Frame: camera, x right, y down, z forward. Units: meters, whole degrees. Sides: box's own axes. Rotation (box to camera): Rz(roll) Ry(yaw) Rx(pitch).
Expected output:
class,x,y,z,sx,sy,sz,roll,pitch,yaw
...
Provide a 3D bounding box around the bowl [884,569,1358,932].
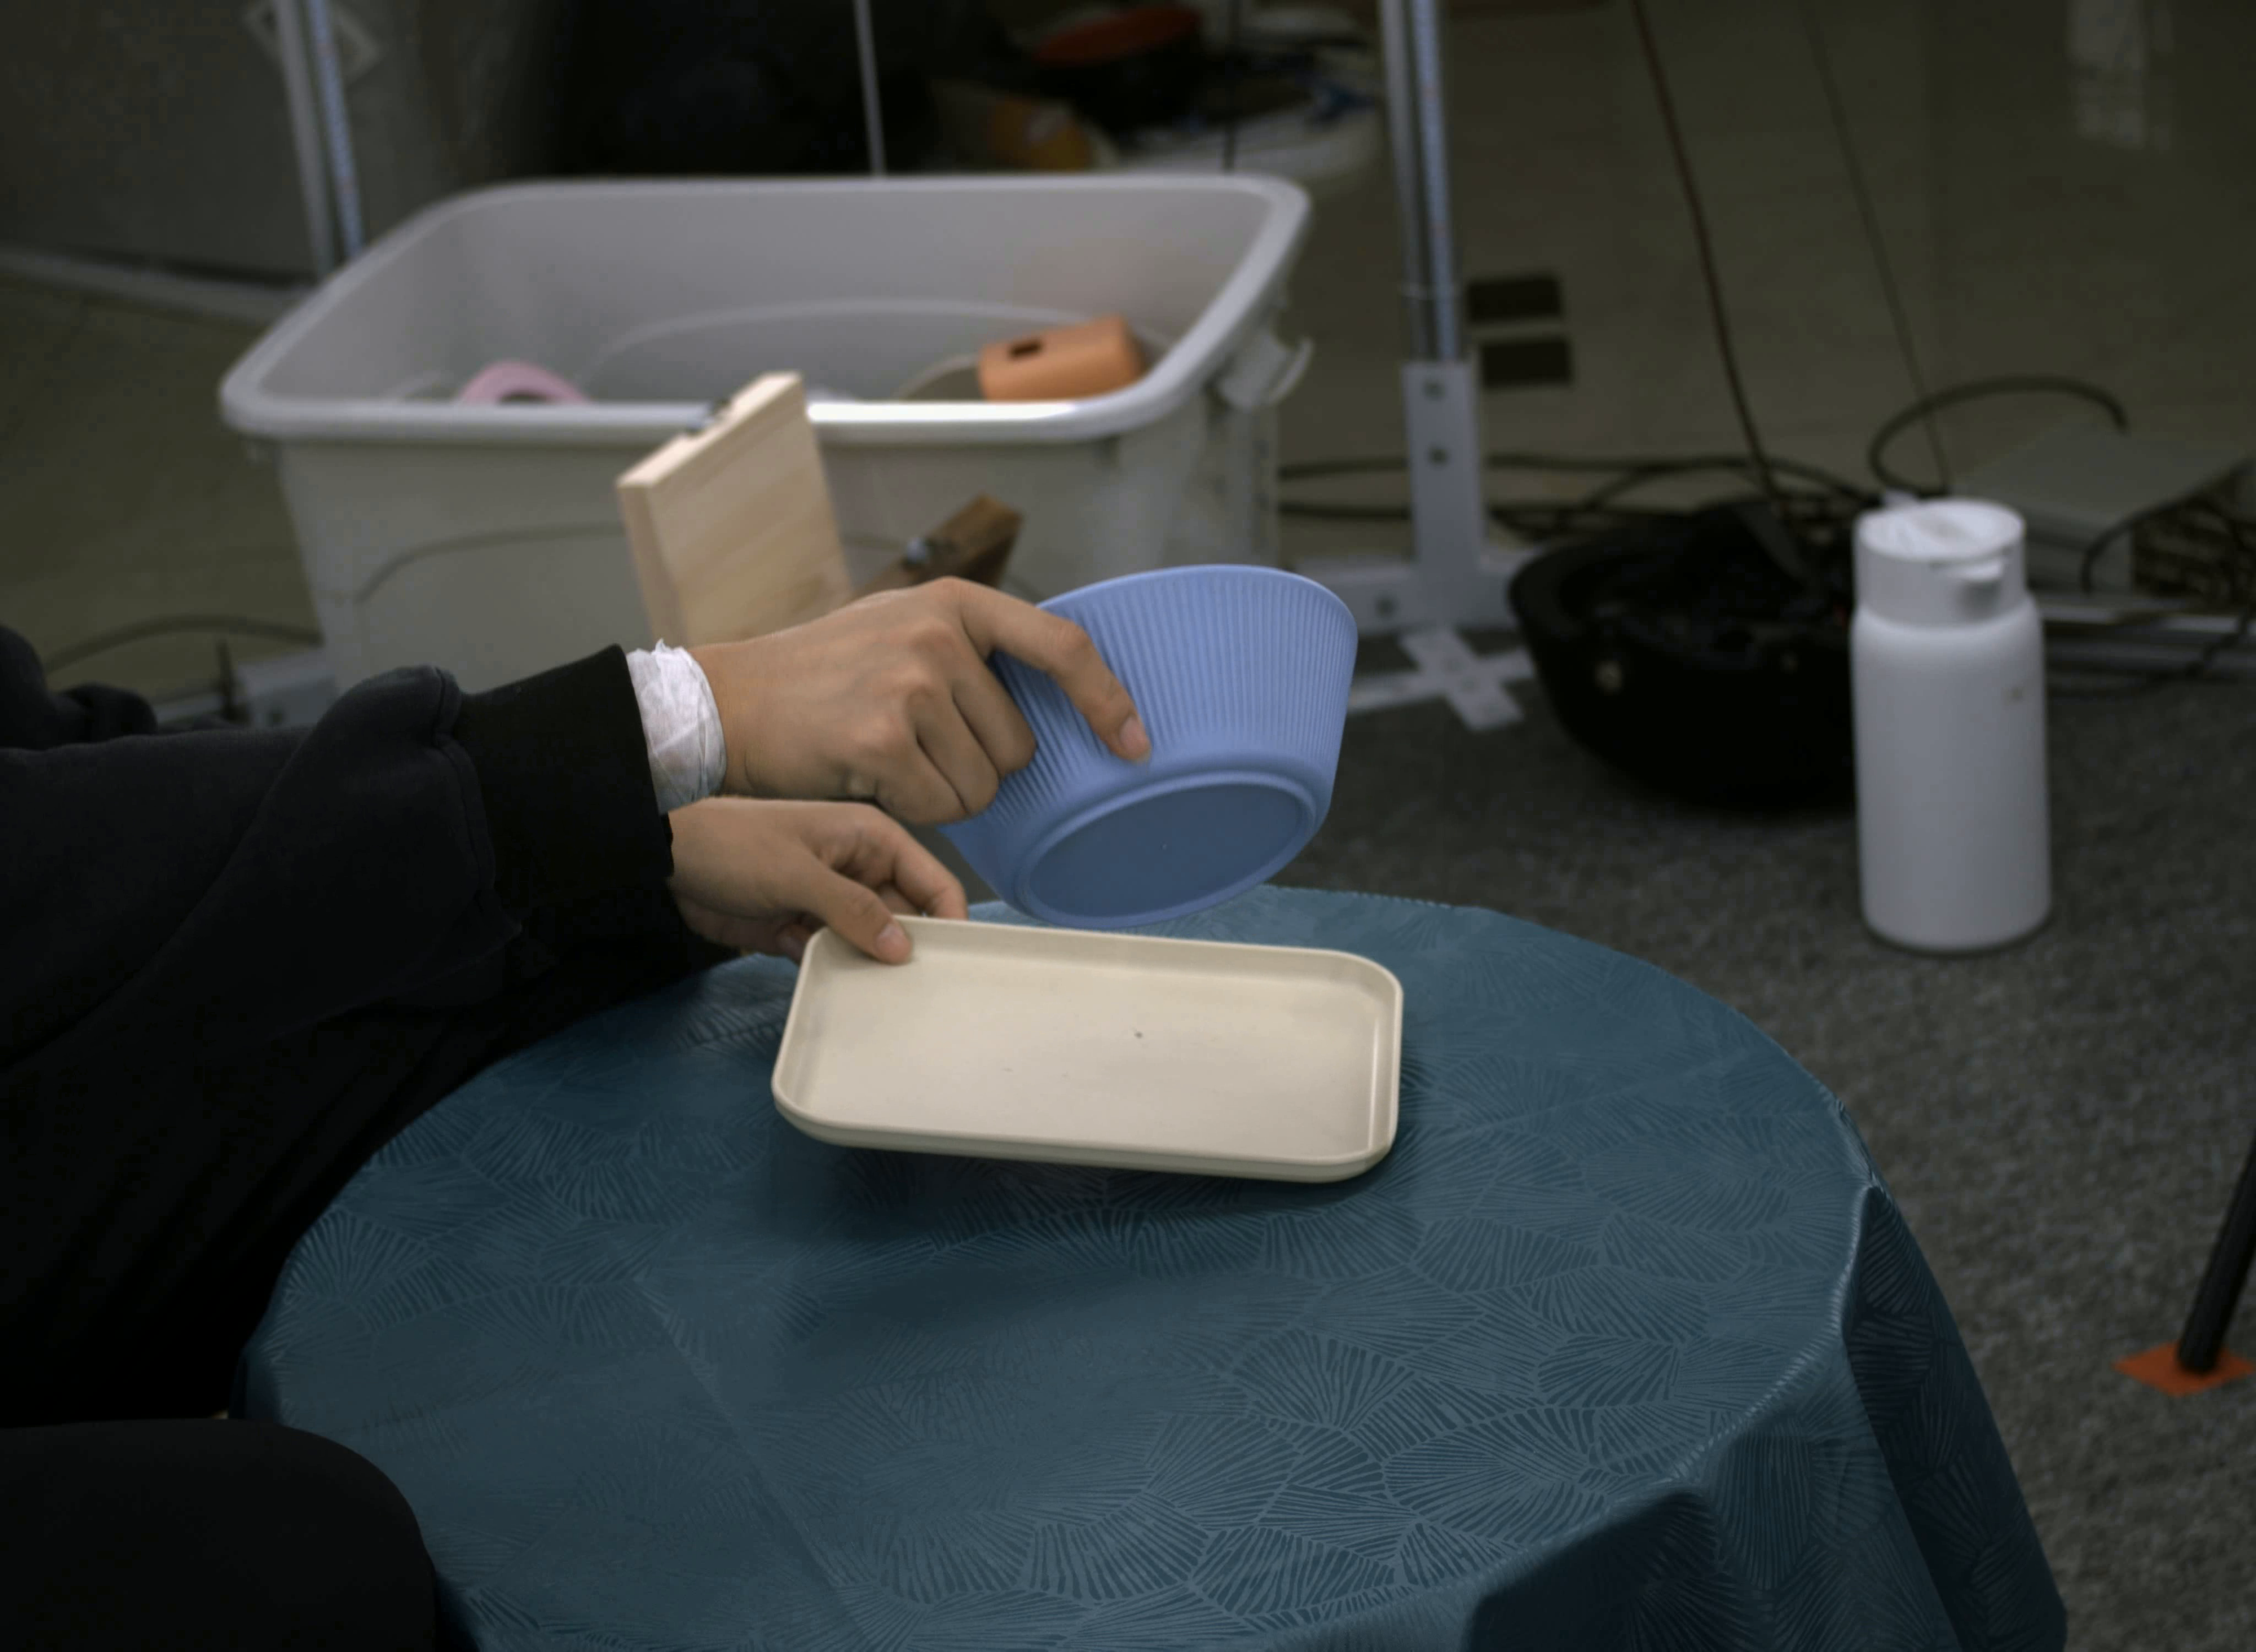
class,x,y,z,sx,sy,sz,roll,pitch,yaw
bowl,0.006,-0.018,2.006,0.175,0.178,0.069,-11,65,-11

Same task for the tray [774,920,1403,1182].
class,x,y,z,sx,sy,sz,roll,pitch,yaw
tray,-0.013,0.088,2.203,0.239,0.018,0.169,5,26,2
